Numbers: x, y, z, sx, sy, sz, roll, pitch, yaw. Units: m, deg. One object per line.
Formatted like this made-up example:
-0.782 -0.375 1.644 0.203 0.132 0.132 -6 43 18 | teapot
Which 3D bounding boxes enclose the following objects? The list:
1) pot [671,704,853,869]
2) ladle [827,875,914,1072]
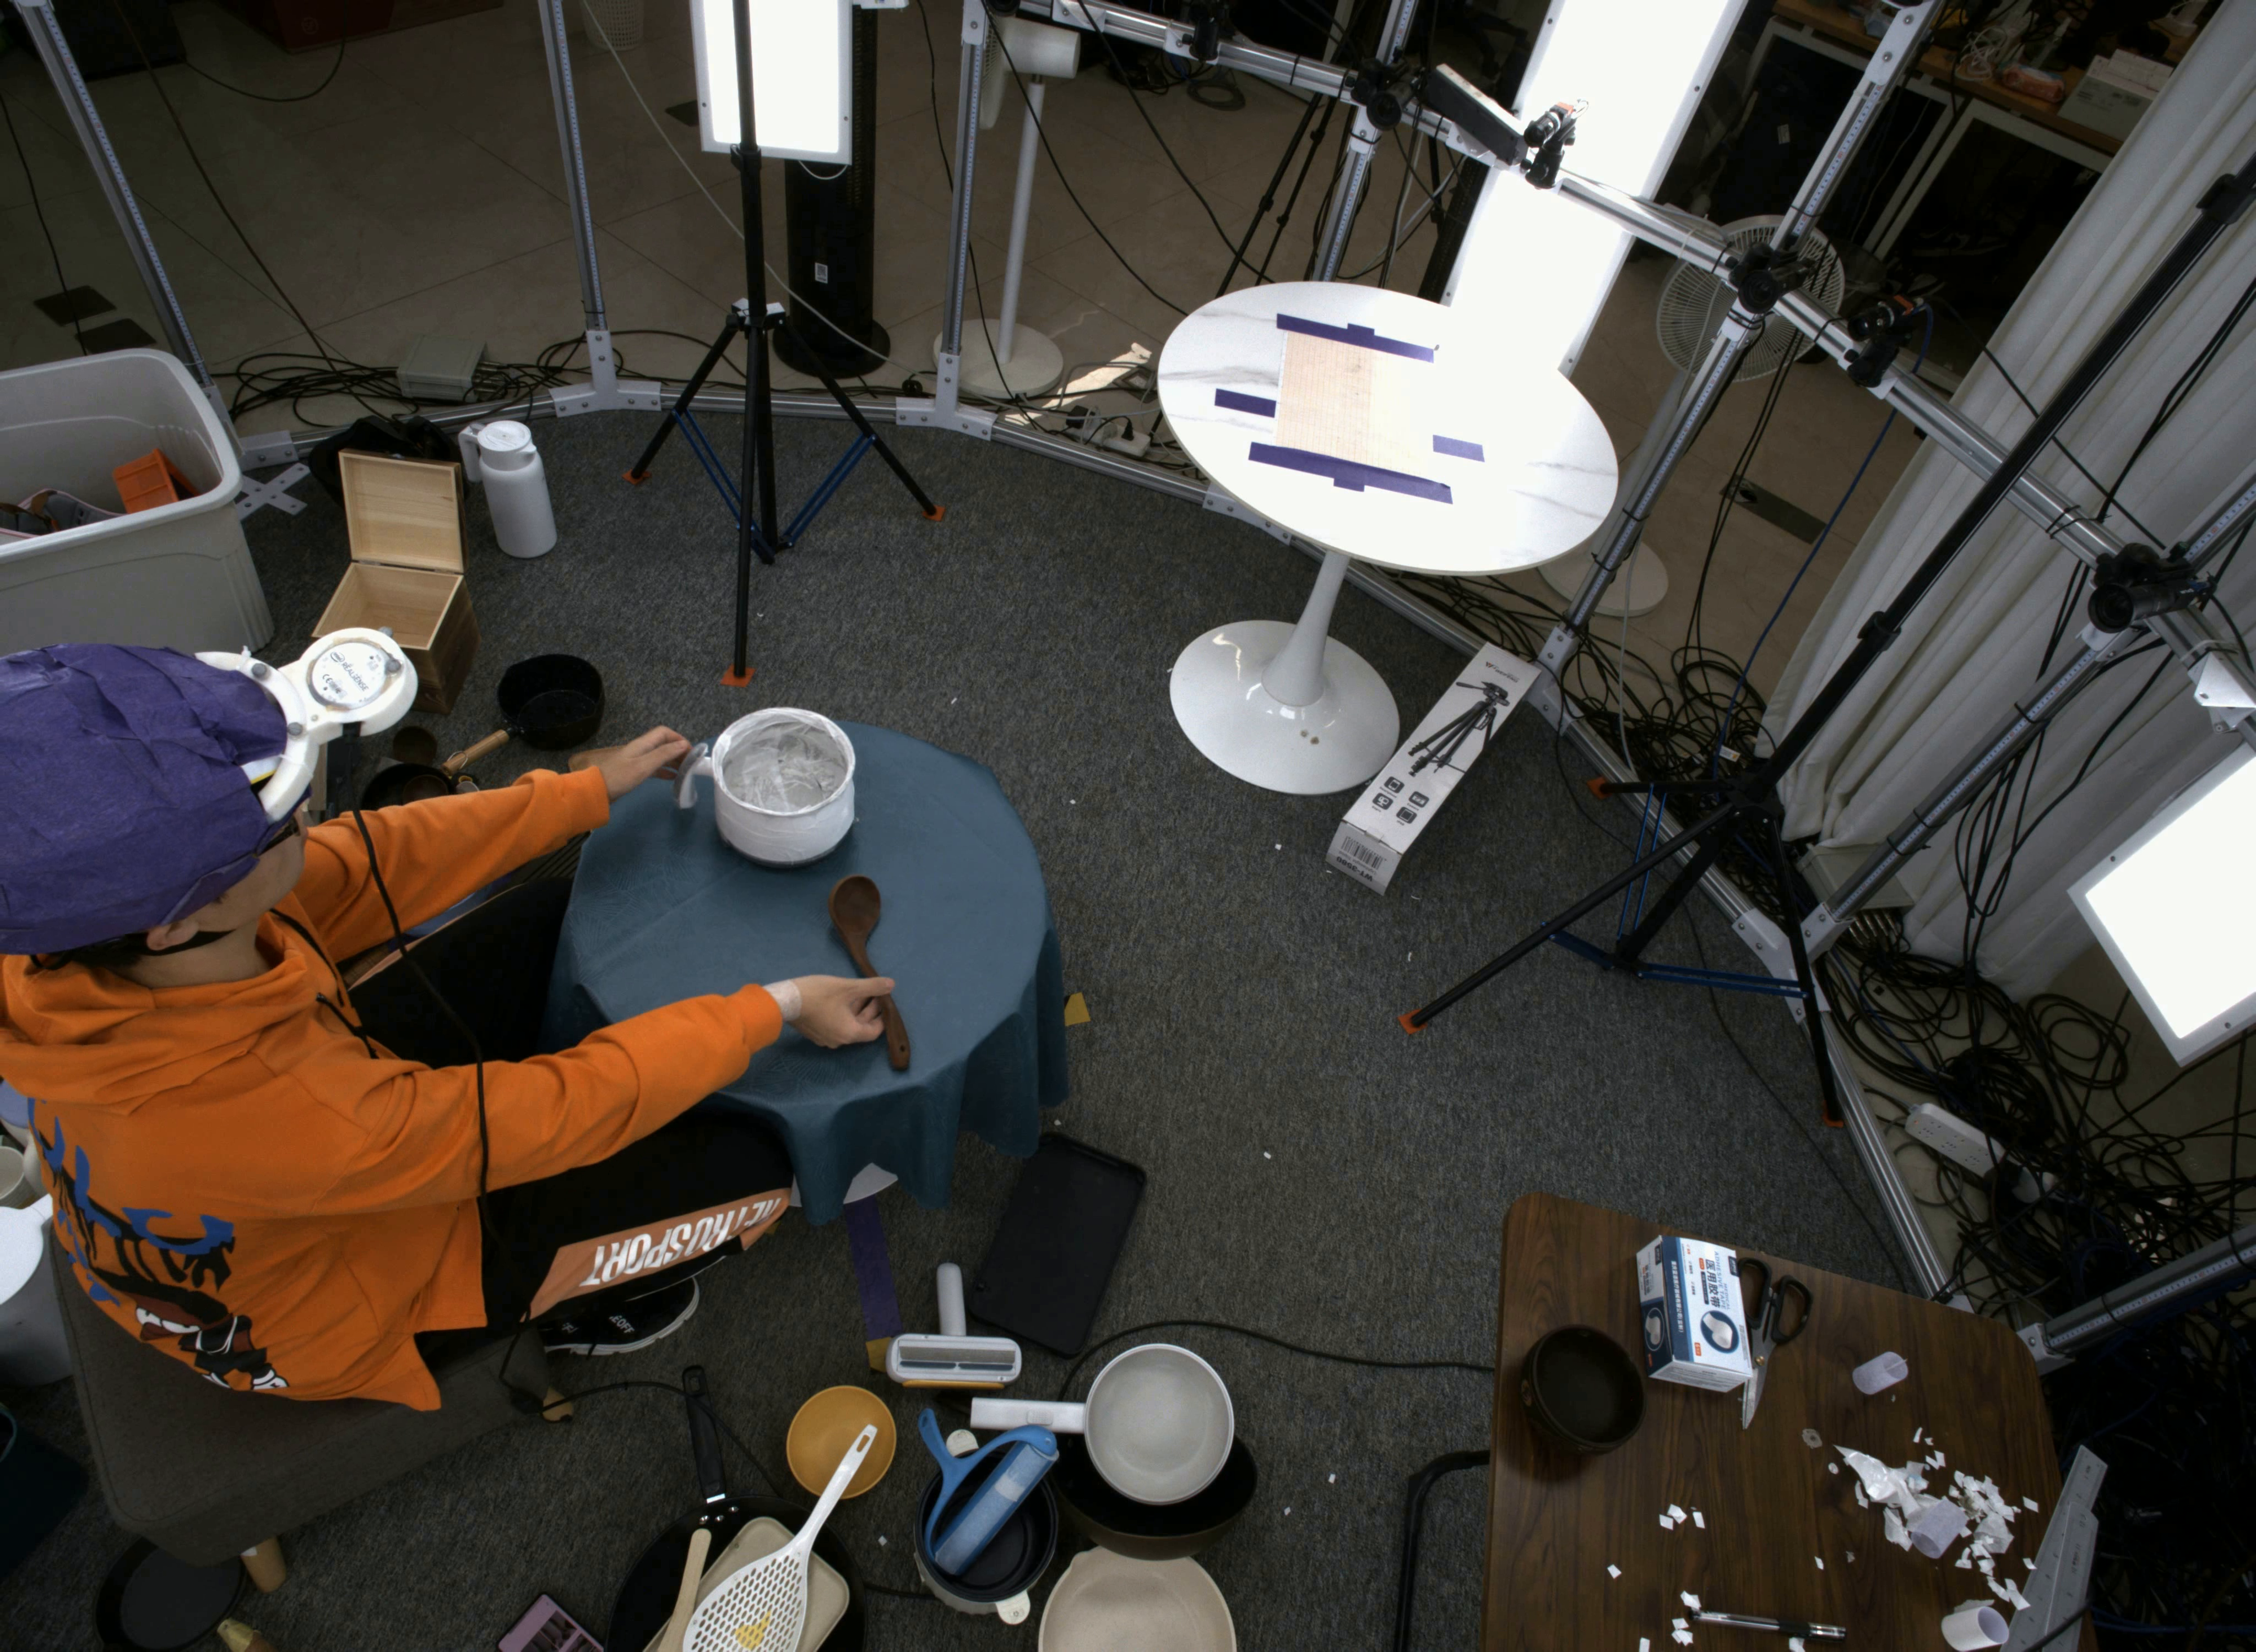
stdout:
-0.468 -0.050 1.650 0.233 0.139 0.175 7 51 -10 | pot
-0.303 0.171 1.579 0.078 0.065 0.253 3 48 -45 | ladle
